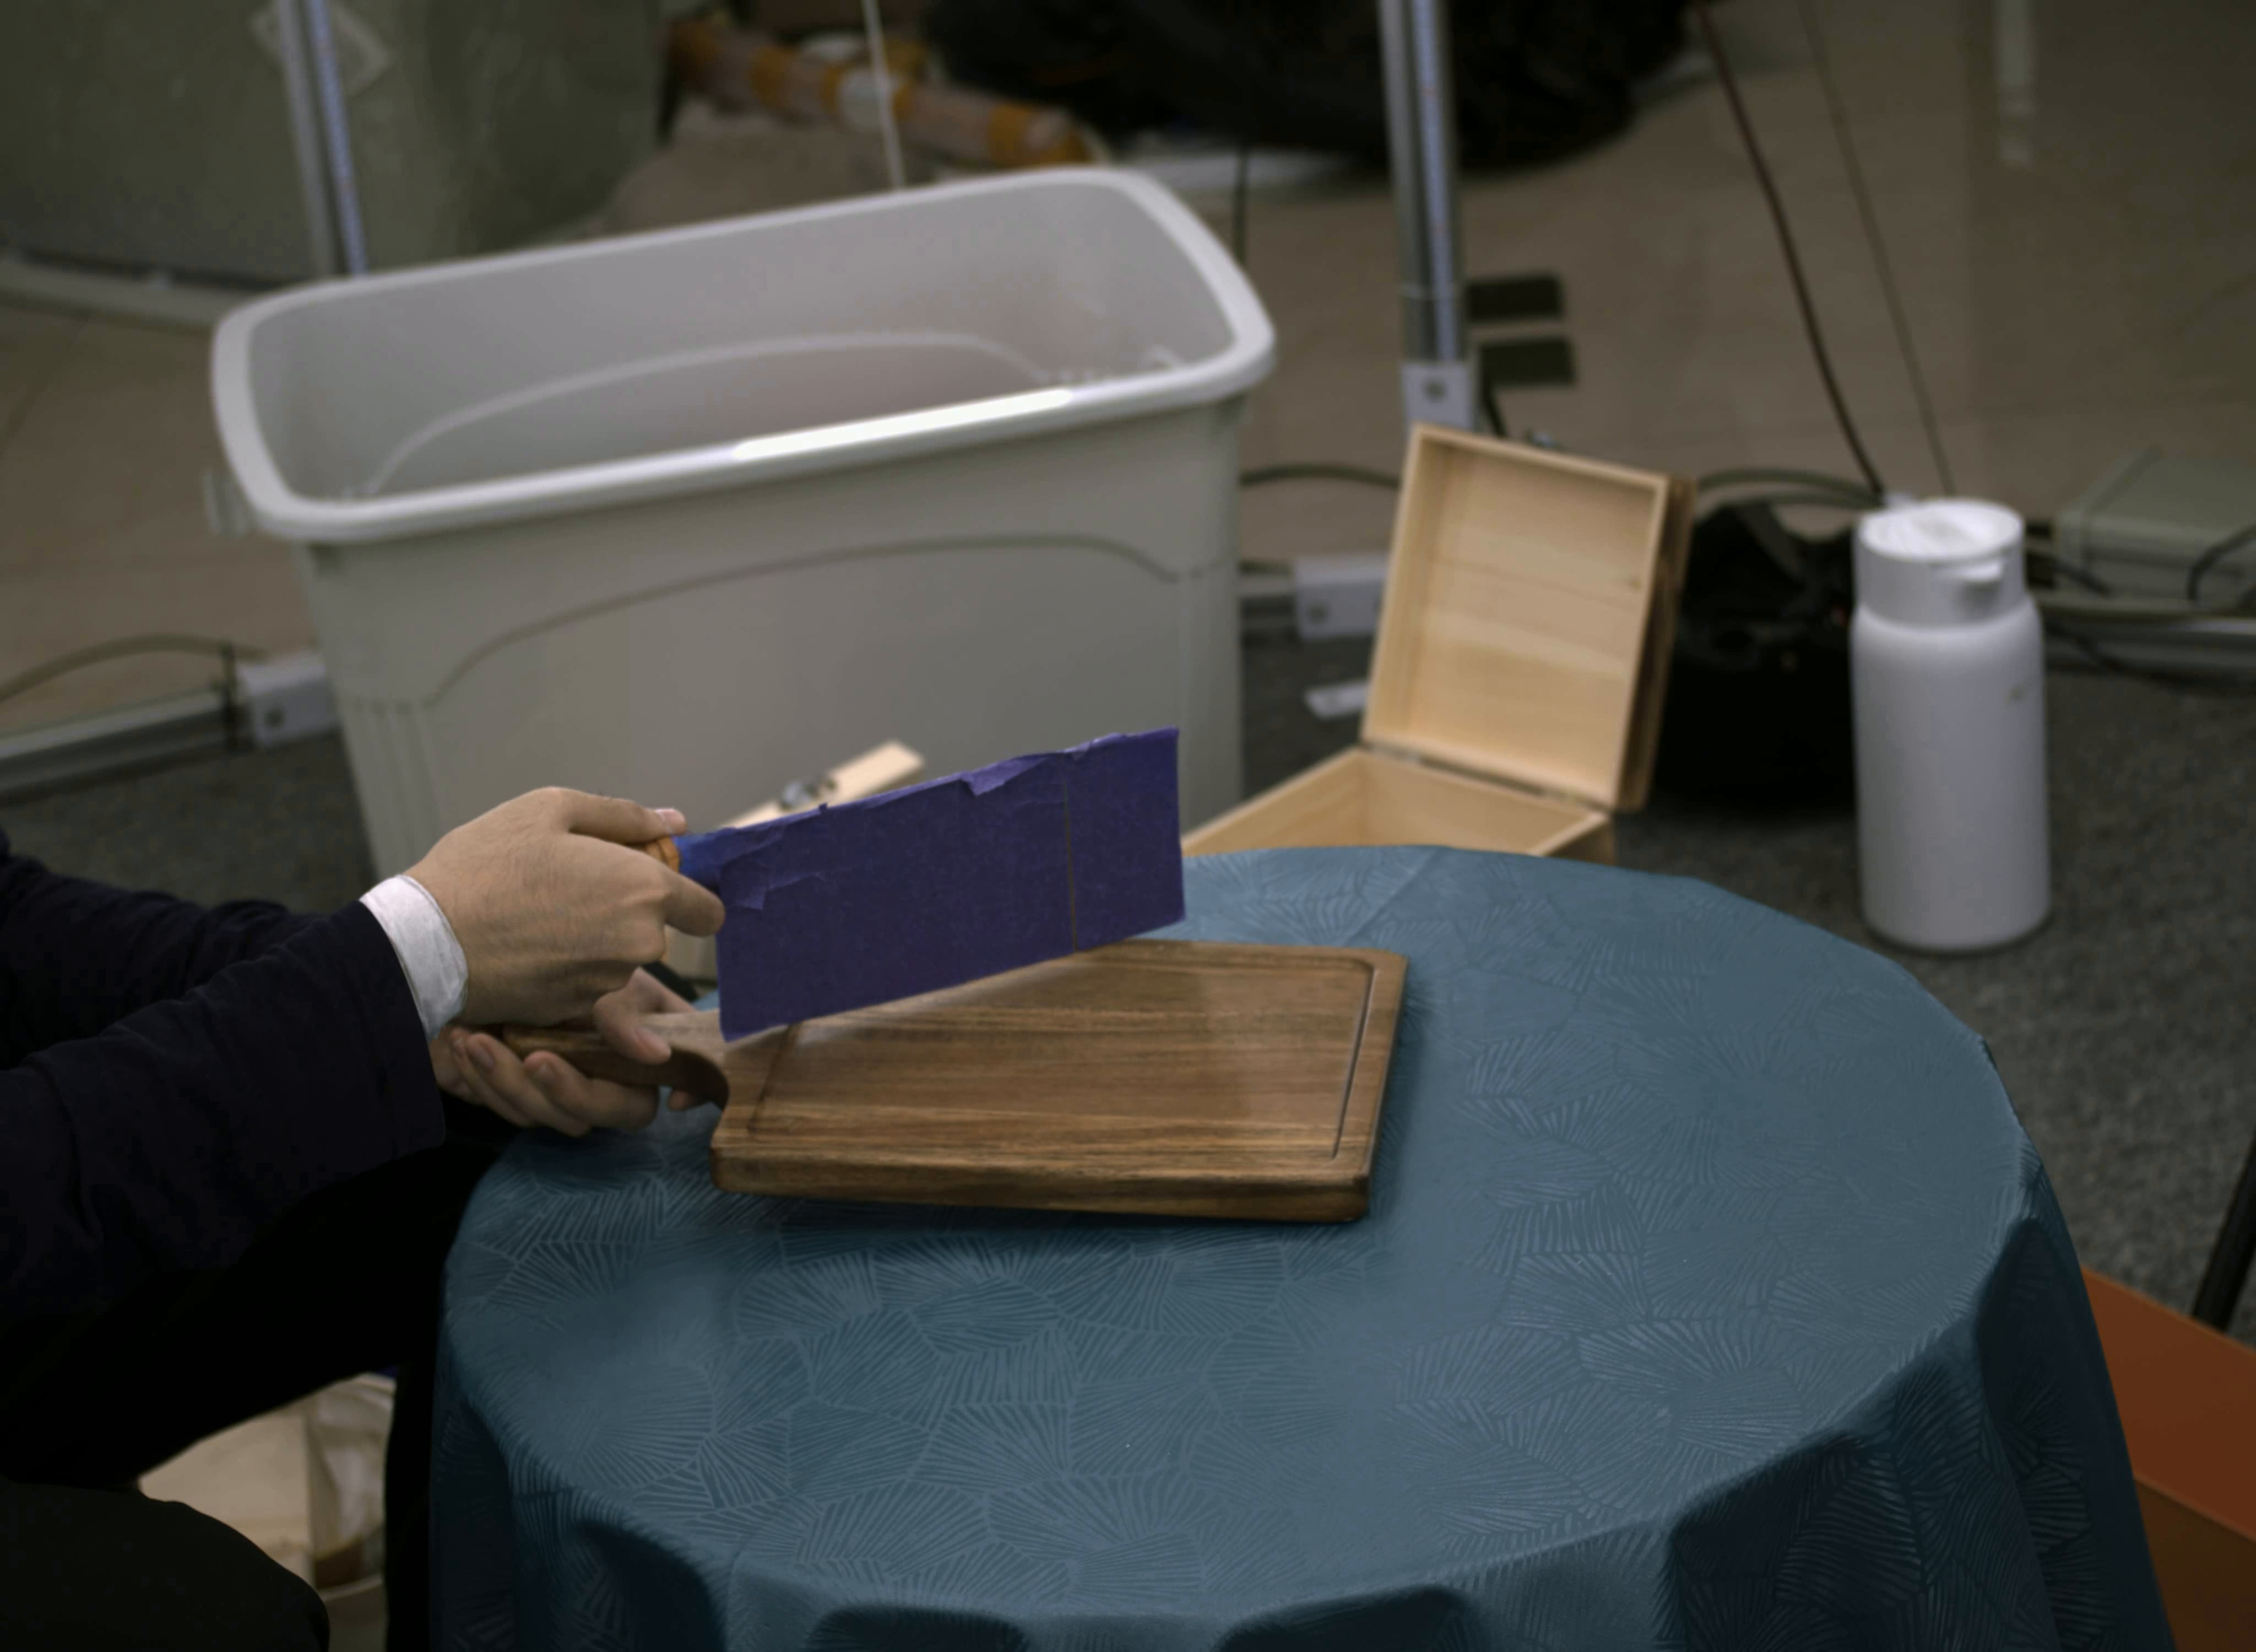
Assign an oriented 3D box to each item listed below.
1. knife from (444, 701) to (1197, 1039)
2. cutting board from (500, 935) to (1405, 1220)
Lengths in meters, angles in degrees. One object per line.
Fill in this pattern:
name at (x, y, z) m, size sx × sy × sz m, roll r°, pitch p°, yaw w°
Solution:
knife at (-0.112, 0.032, 2.204) m, size 0.314 × 0.105 × 0.032 m, roll -14°, pitch 27°, yaw -22°
cutting board at (-0.072, 0.092, 2.212) m, size 0.351 × 0.023 × 0.198 m, roll 2°, pitch 26°, yaw 7°
